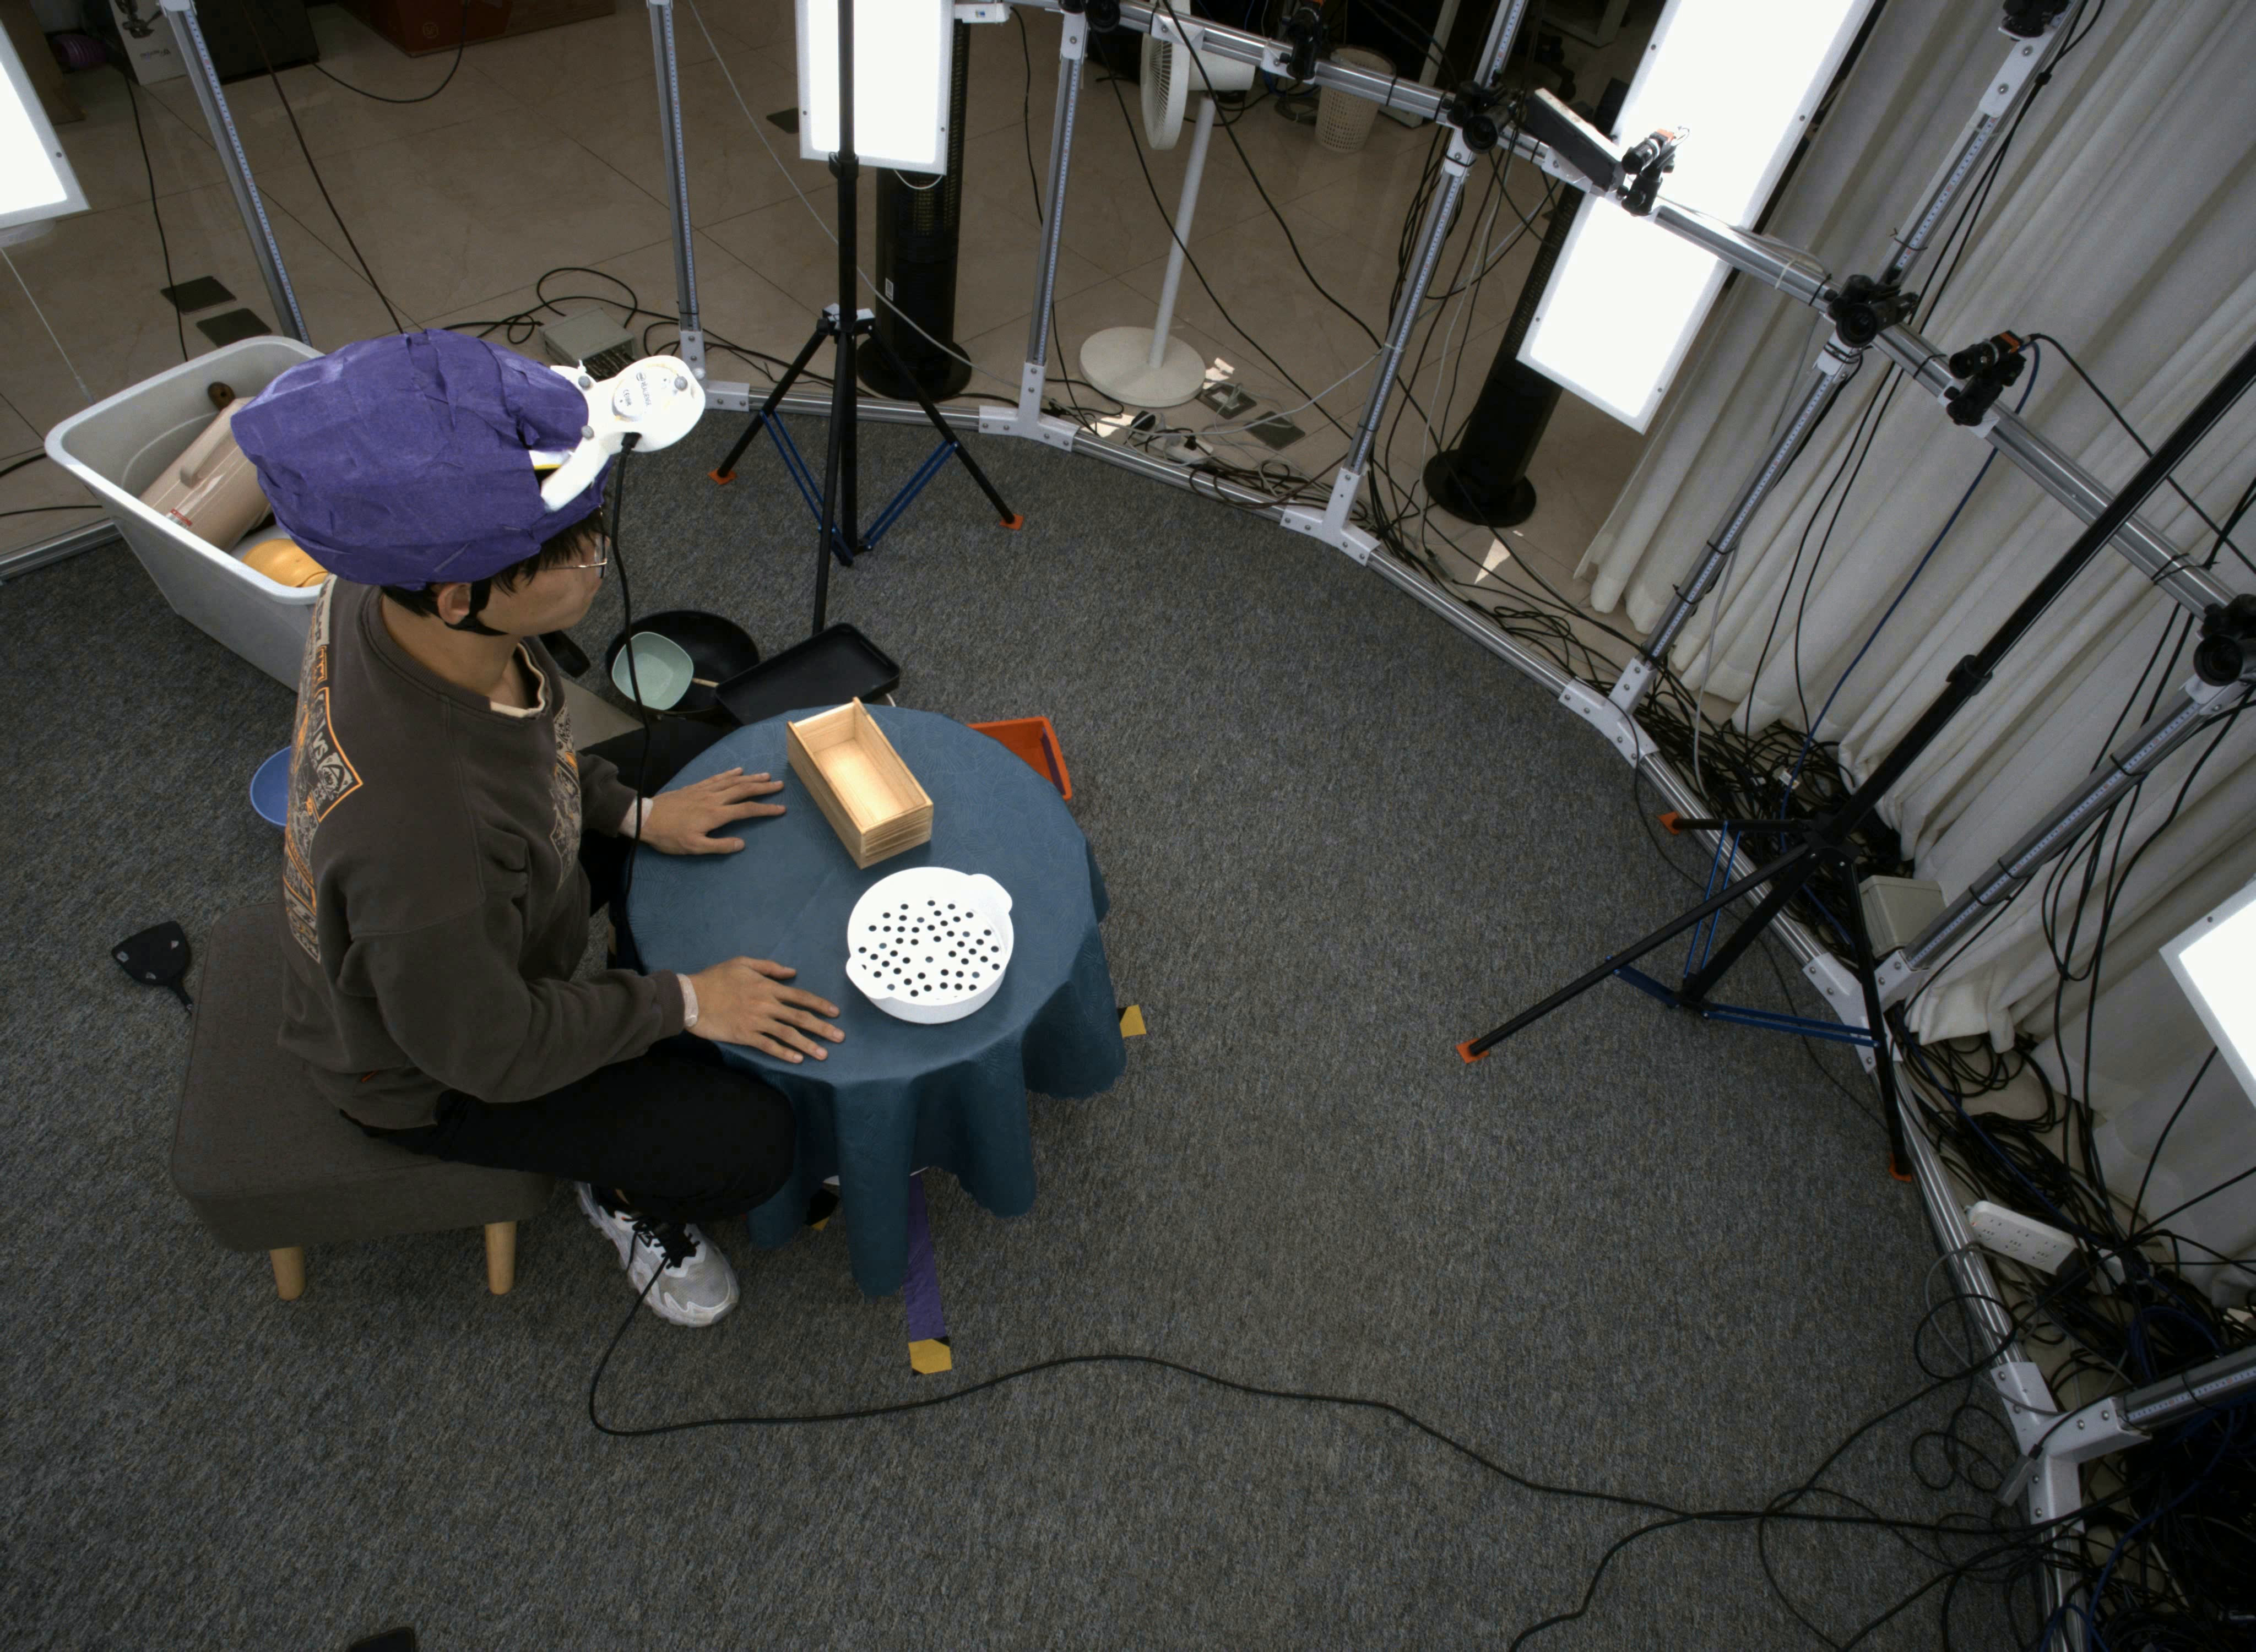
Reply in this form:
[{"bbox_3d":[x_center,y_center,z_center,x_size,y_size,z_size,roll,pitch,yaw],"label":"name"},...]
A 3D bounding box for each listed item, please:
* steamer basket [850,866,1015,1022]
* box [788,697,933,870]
[{"bbox_3d":[-0.243,0.148,1.631,0.197,0.071,0.231,42,57,19],"label":"steamer basket"},{"bbox_3d":[-0.360,-0.059,1.746,0.108,0.082,0.206,-26,63,-27],"label":"box"}]
